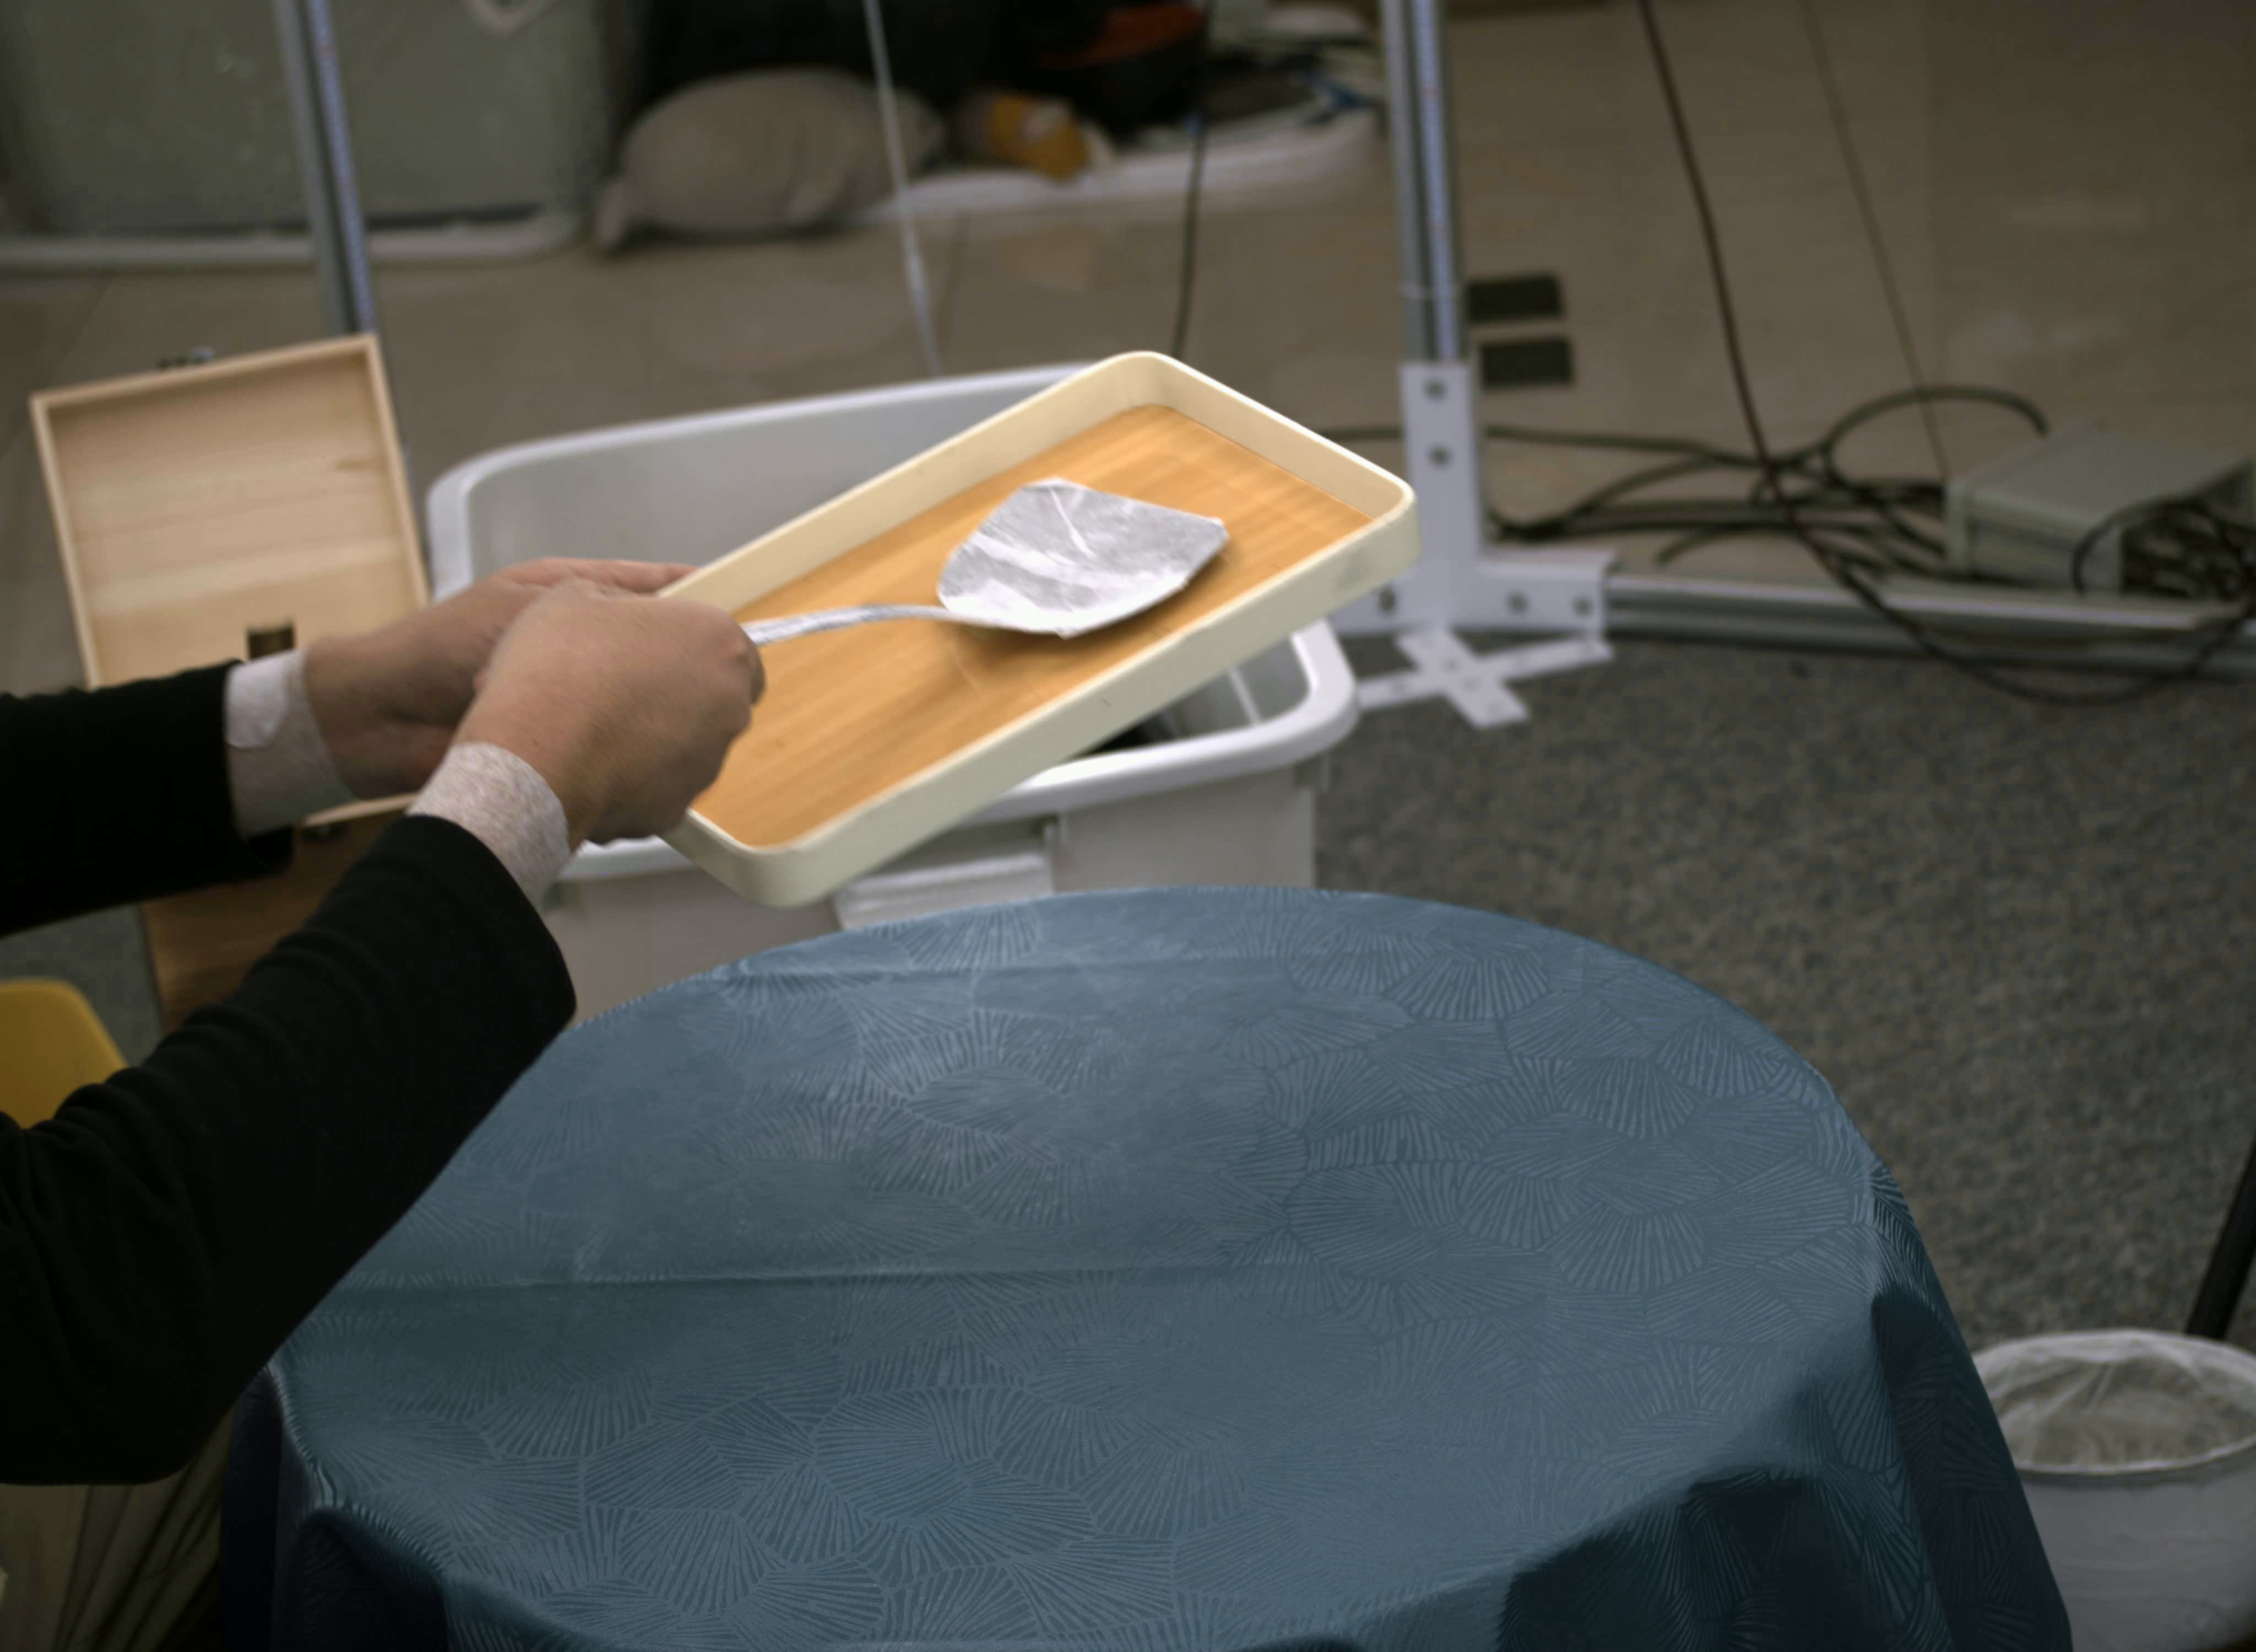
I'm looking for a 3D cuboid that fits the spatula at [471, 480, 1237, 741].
[{"bbox_3d":[-0.098,-0.075,1.990,0.098,0.045,0.363,18,19,33],"label":"spatula"}]

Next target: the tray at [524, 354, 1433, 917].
[{"bbox_3d":[-0.055,-0.075,2.082,0.298,0.028,0.189,-29,37,-22],"label":"tray"}]
